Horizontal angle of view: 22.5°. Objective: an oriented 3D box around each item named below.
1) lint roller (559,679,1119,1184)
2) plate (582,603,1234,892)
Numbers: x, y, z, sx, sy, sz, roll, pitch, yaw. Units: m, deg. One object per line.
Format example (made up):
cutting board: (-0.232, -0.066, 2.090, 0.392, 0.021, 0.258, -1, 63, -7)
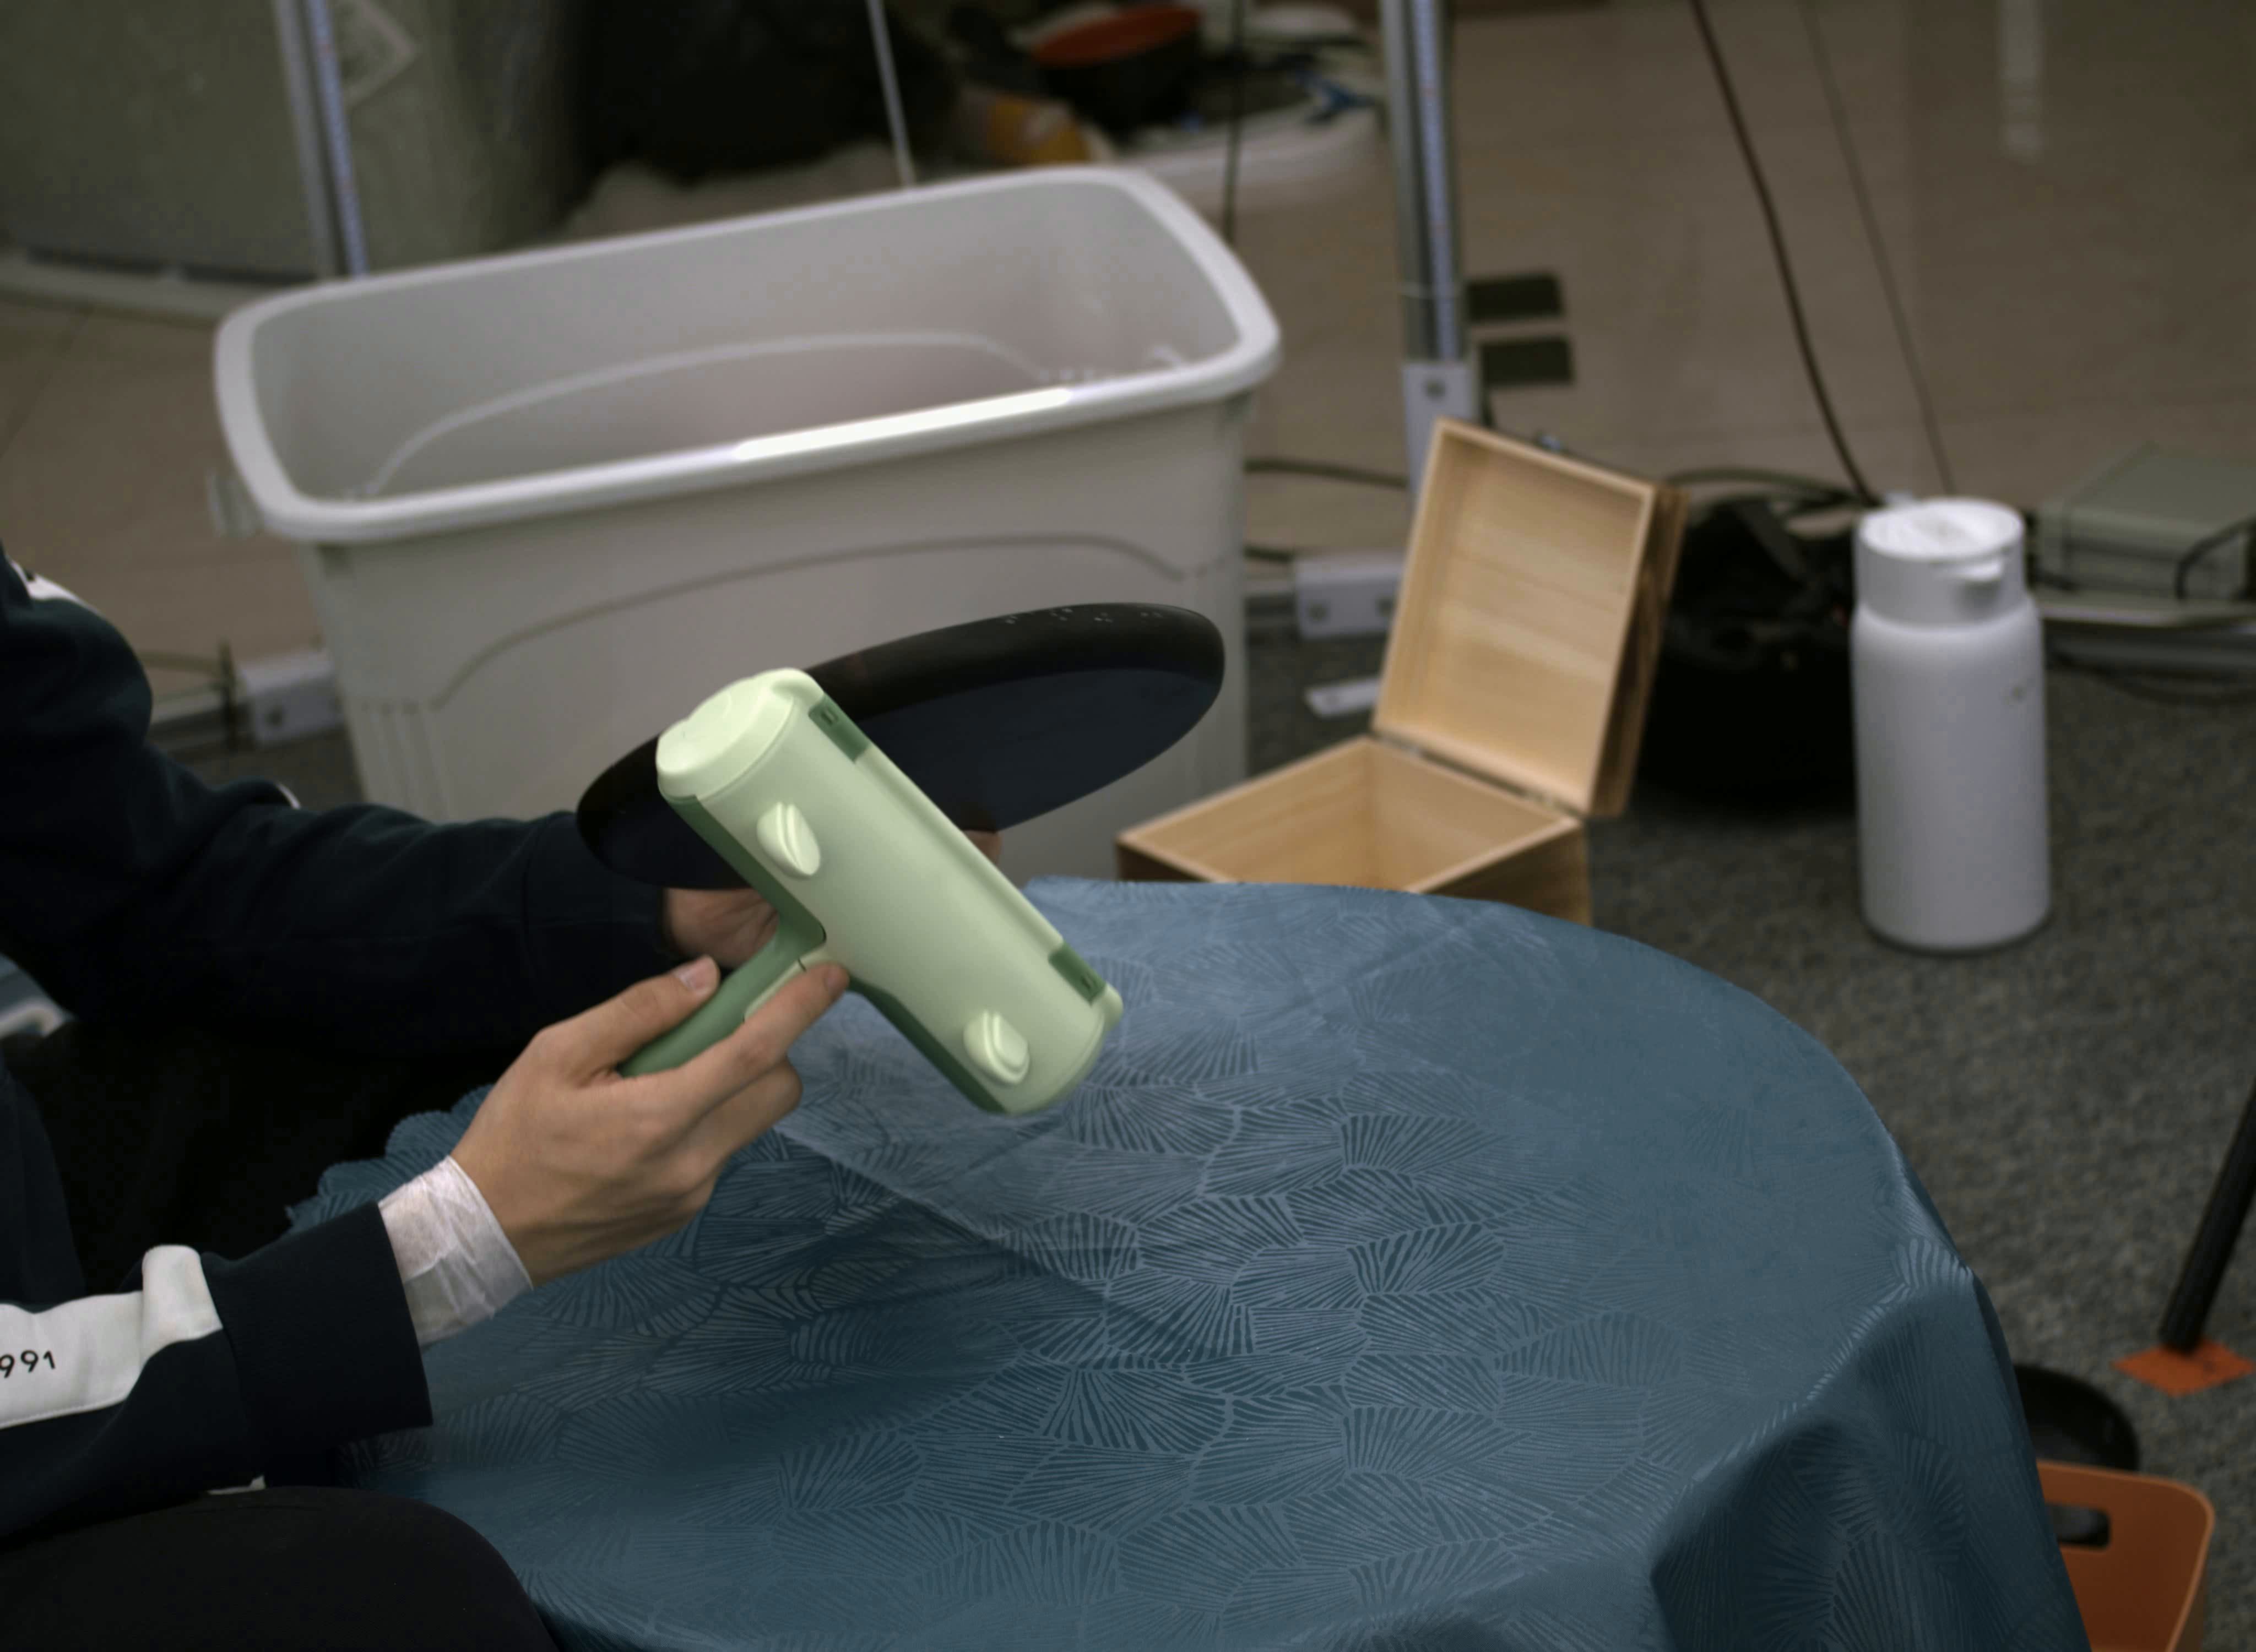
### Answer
lint roller: (-0.124, 0.071, 1.997, 0.183, 0.201, 0.081, -43, 29, -1)
plate: (-0.080, -0.027, 2.116, 0.254, 0.029, 0.256, -16, -11, -3)
